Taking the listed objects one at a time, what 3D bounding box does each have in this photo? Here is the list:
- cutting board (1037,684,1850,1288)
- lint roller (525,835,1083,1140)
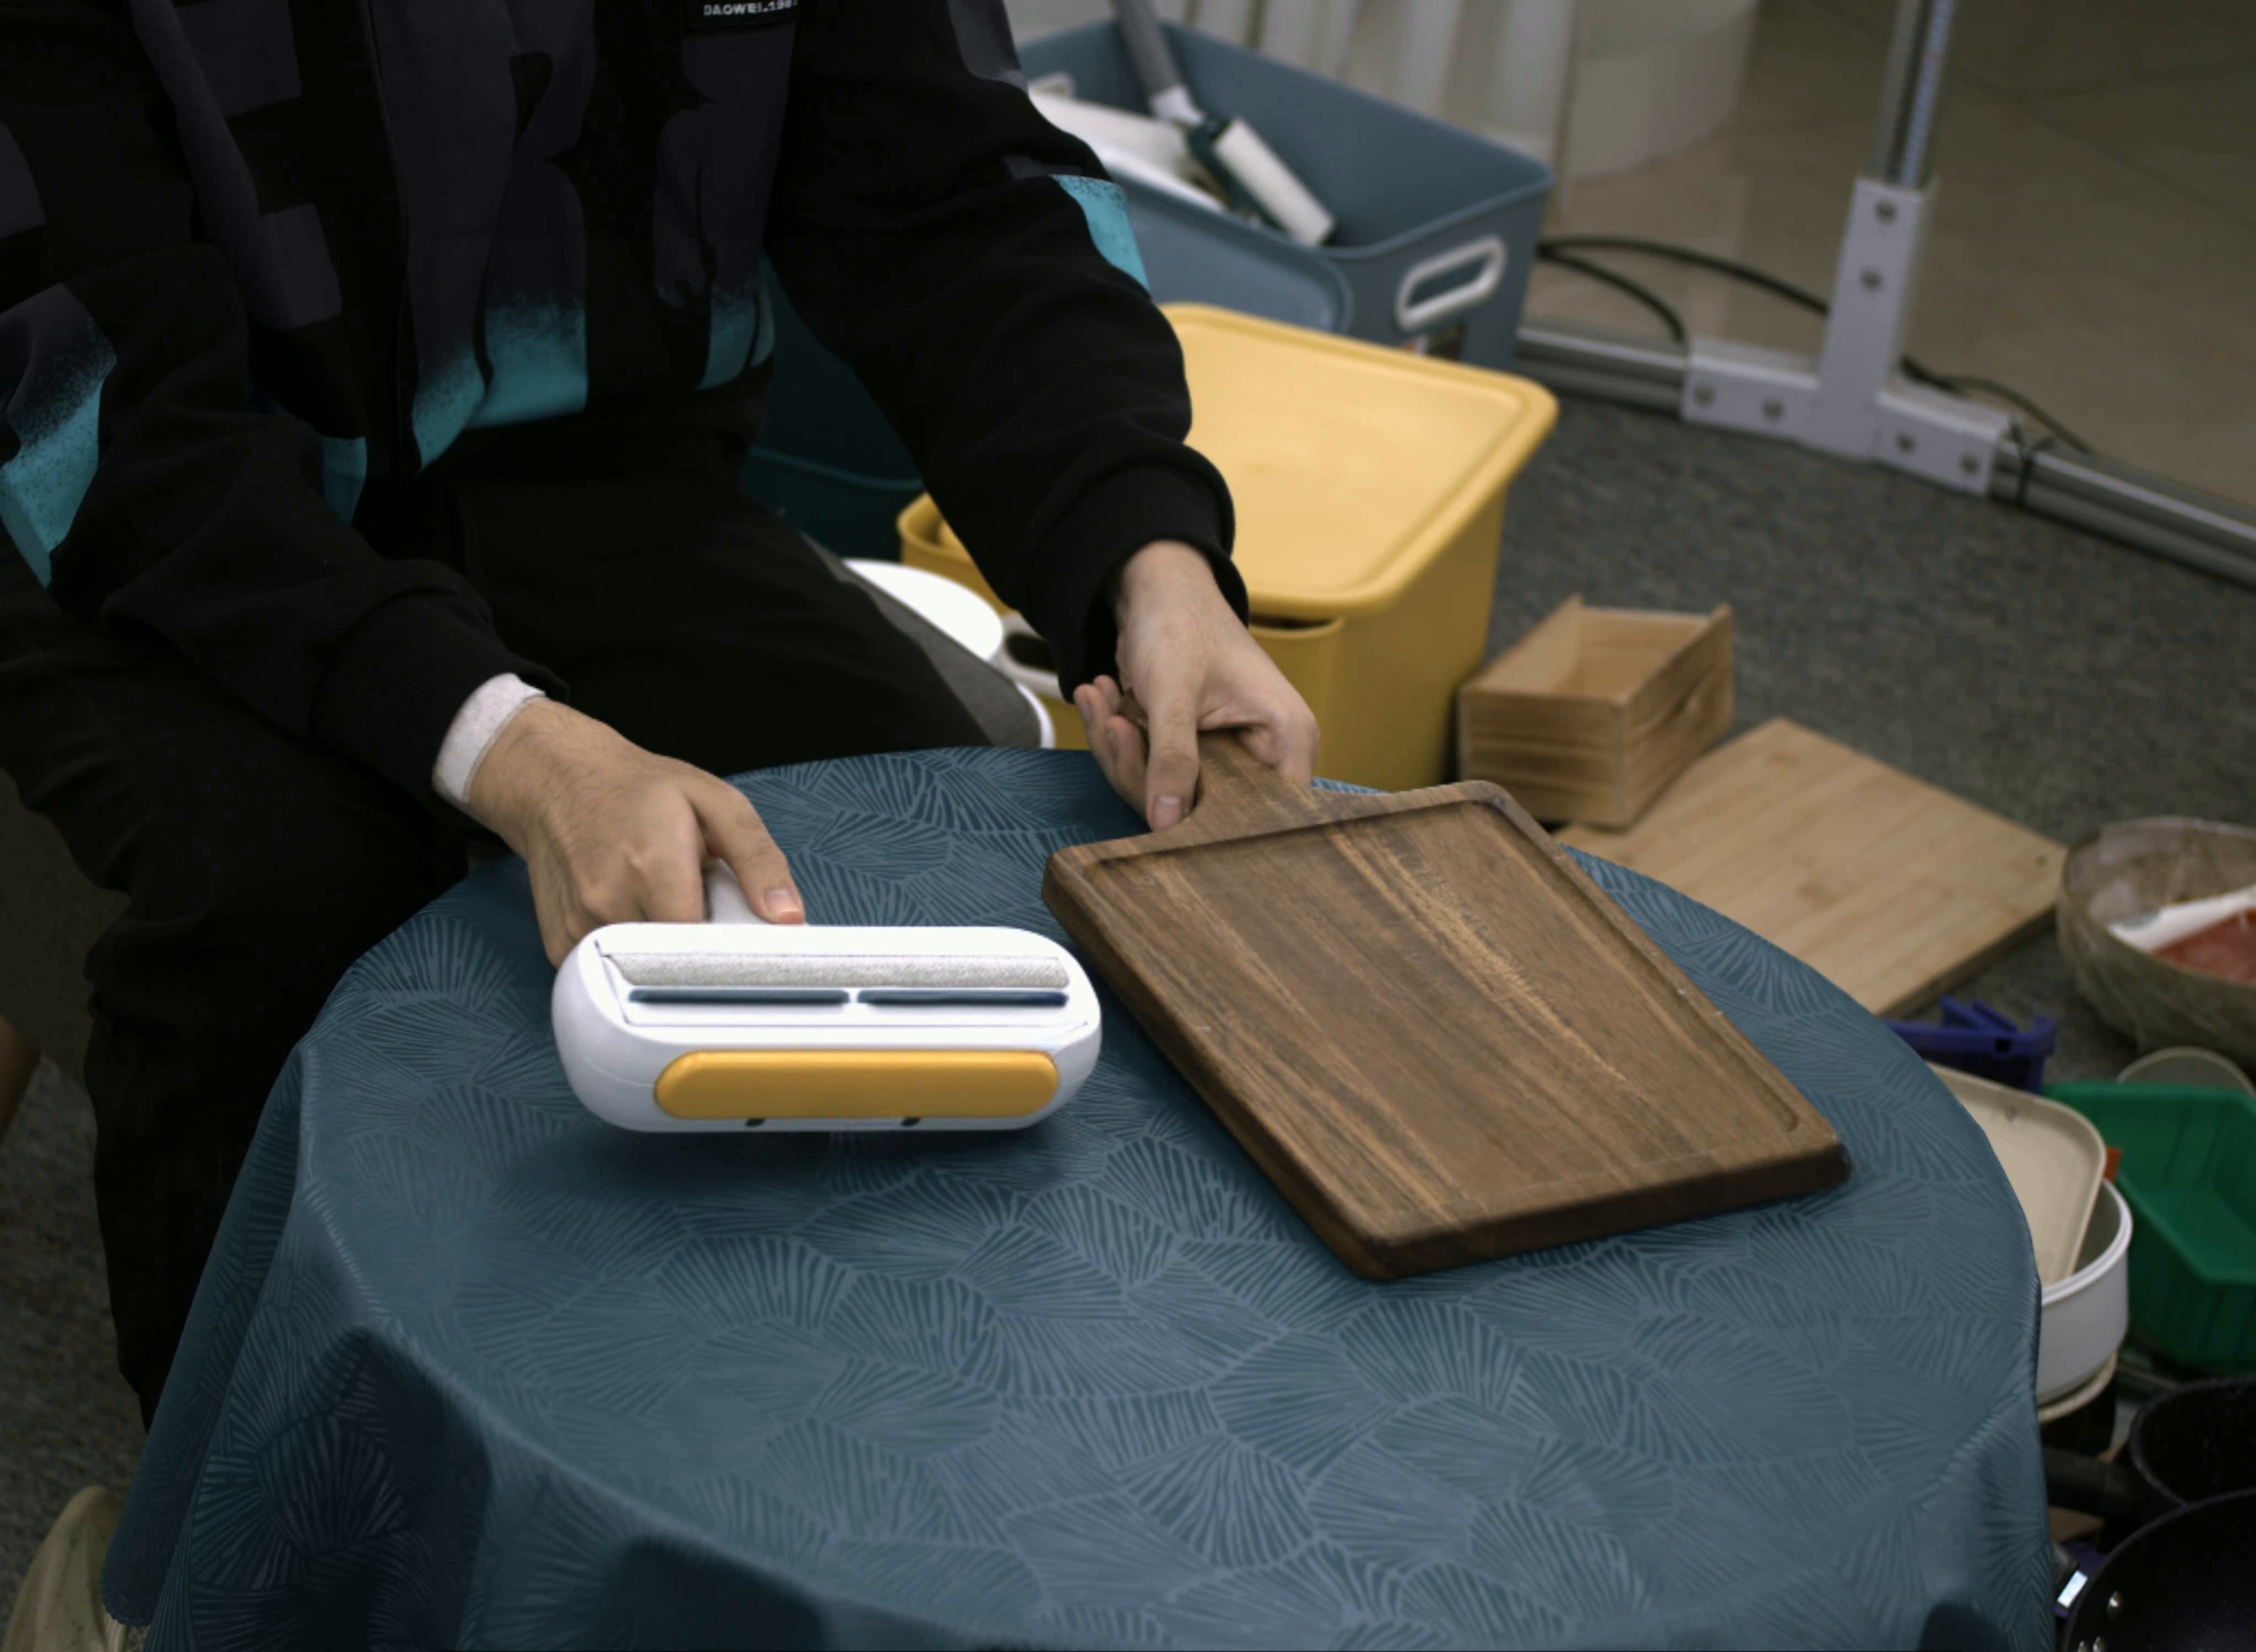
[{"bbox_3d":[0.086,0.043,1.924,0.200,0.023,0.355,-10,35,-26],"label":"cutting board"},{"bbox_3d":[-0.127,0.044,1.841,0.191,0.074,0.194,-1,31,-21],"label":"lint roller"}]
